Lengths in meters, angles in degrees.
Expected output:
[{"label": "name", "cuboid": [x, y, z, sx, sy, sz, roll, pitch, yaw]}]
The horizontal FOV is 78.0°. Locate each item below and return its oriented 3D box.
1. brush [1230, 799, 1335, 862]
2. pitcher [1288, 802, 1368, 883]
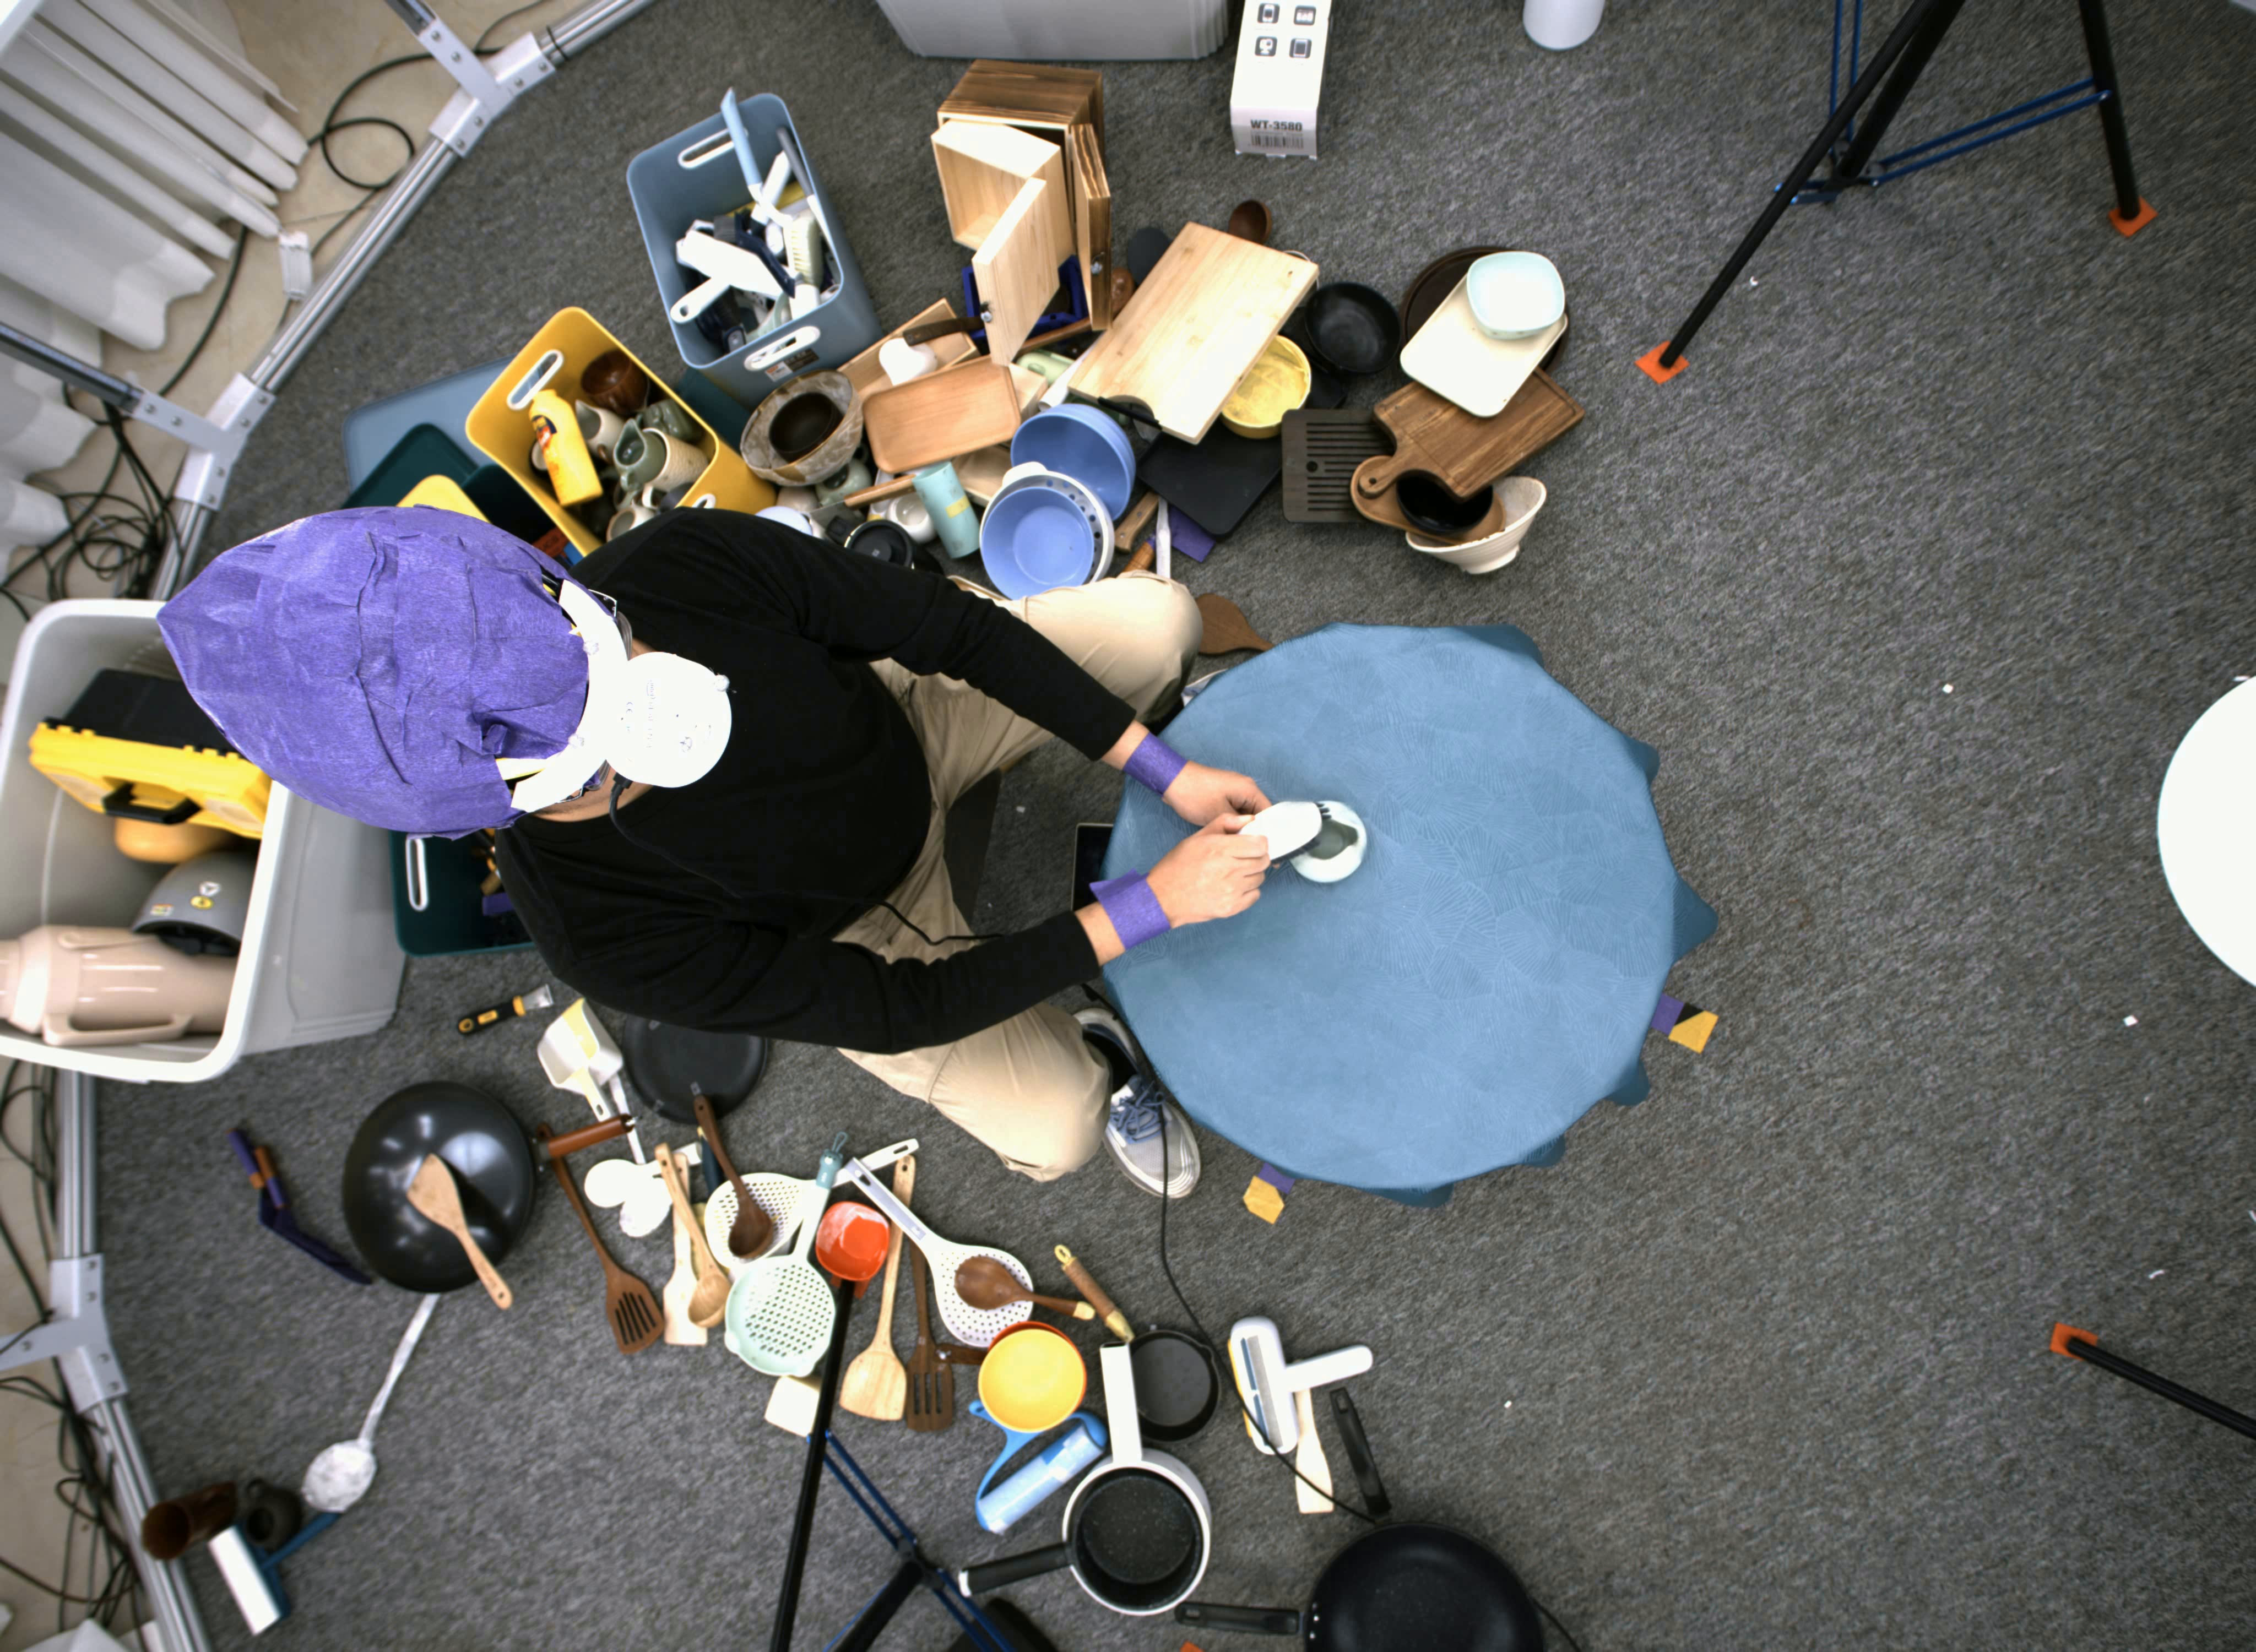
[{"label": "brush", "cuboid": [0.147, 0.003, 1.376, 0.101, 0.072, 0.050, -21, 75, 31]}, {"label": "pitcher", "cuboid": [0.196, 0.018, 1.448, 0.109, 0.060, 0.085, -12, 83, 13]}]
